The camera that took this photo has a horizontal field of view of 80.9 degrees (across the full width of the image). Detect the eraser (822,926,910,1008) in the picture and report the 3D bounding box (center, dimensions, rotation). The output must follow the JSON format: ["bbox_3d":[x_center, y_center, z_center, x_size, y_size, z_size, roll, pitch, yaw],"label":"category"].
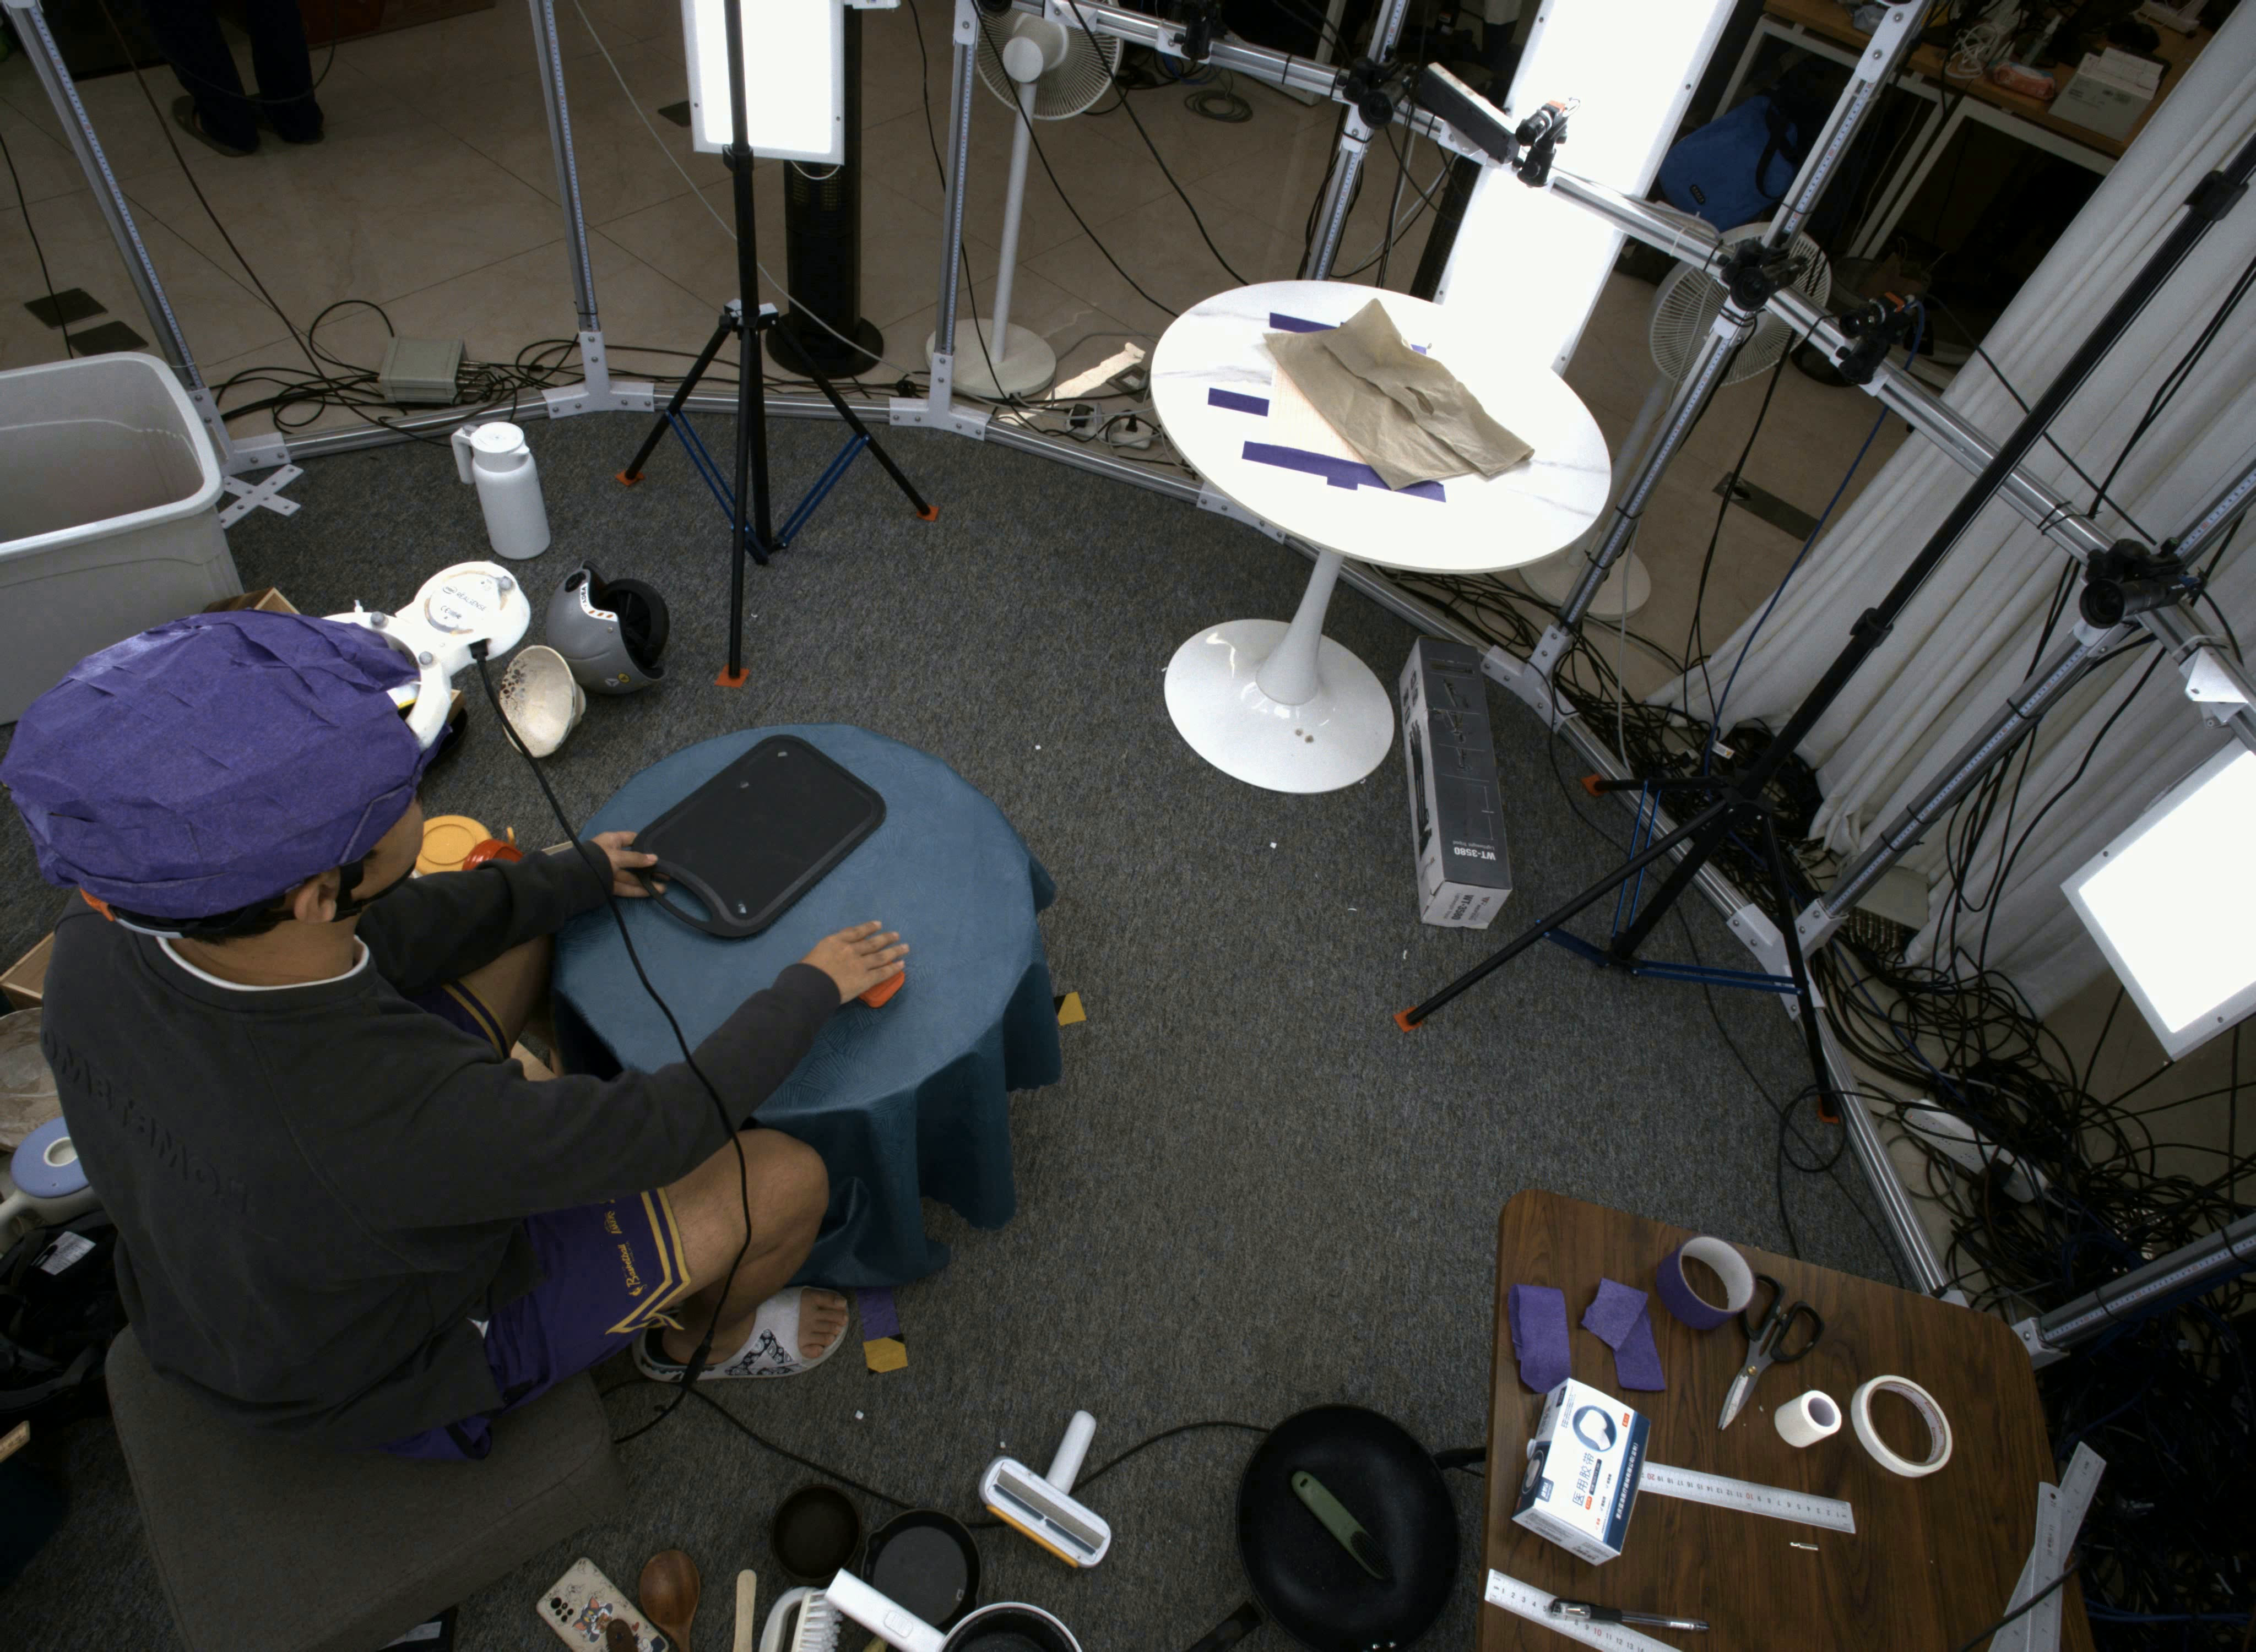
[{"bbox_3d":[-0.325,0.172,1.608,0.106,0.023,0.059,36,53,15],"label":"eraser"}]

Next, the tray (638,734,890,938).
[{"bbox_3d":[-0.477,0.009,1.693,0.208,0.010,0.325,37,52,9],"label":"tray"}]
